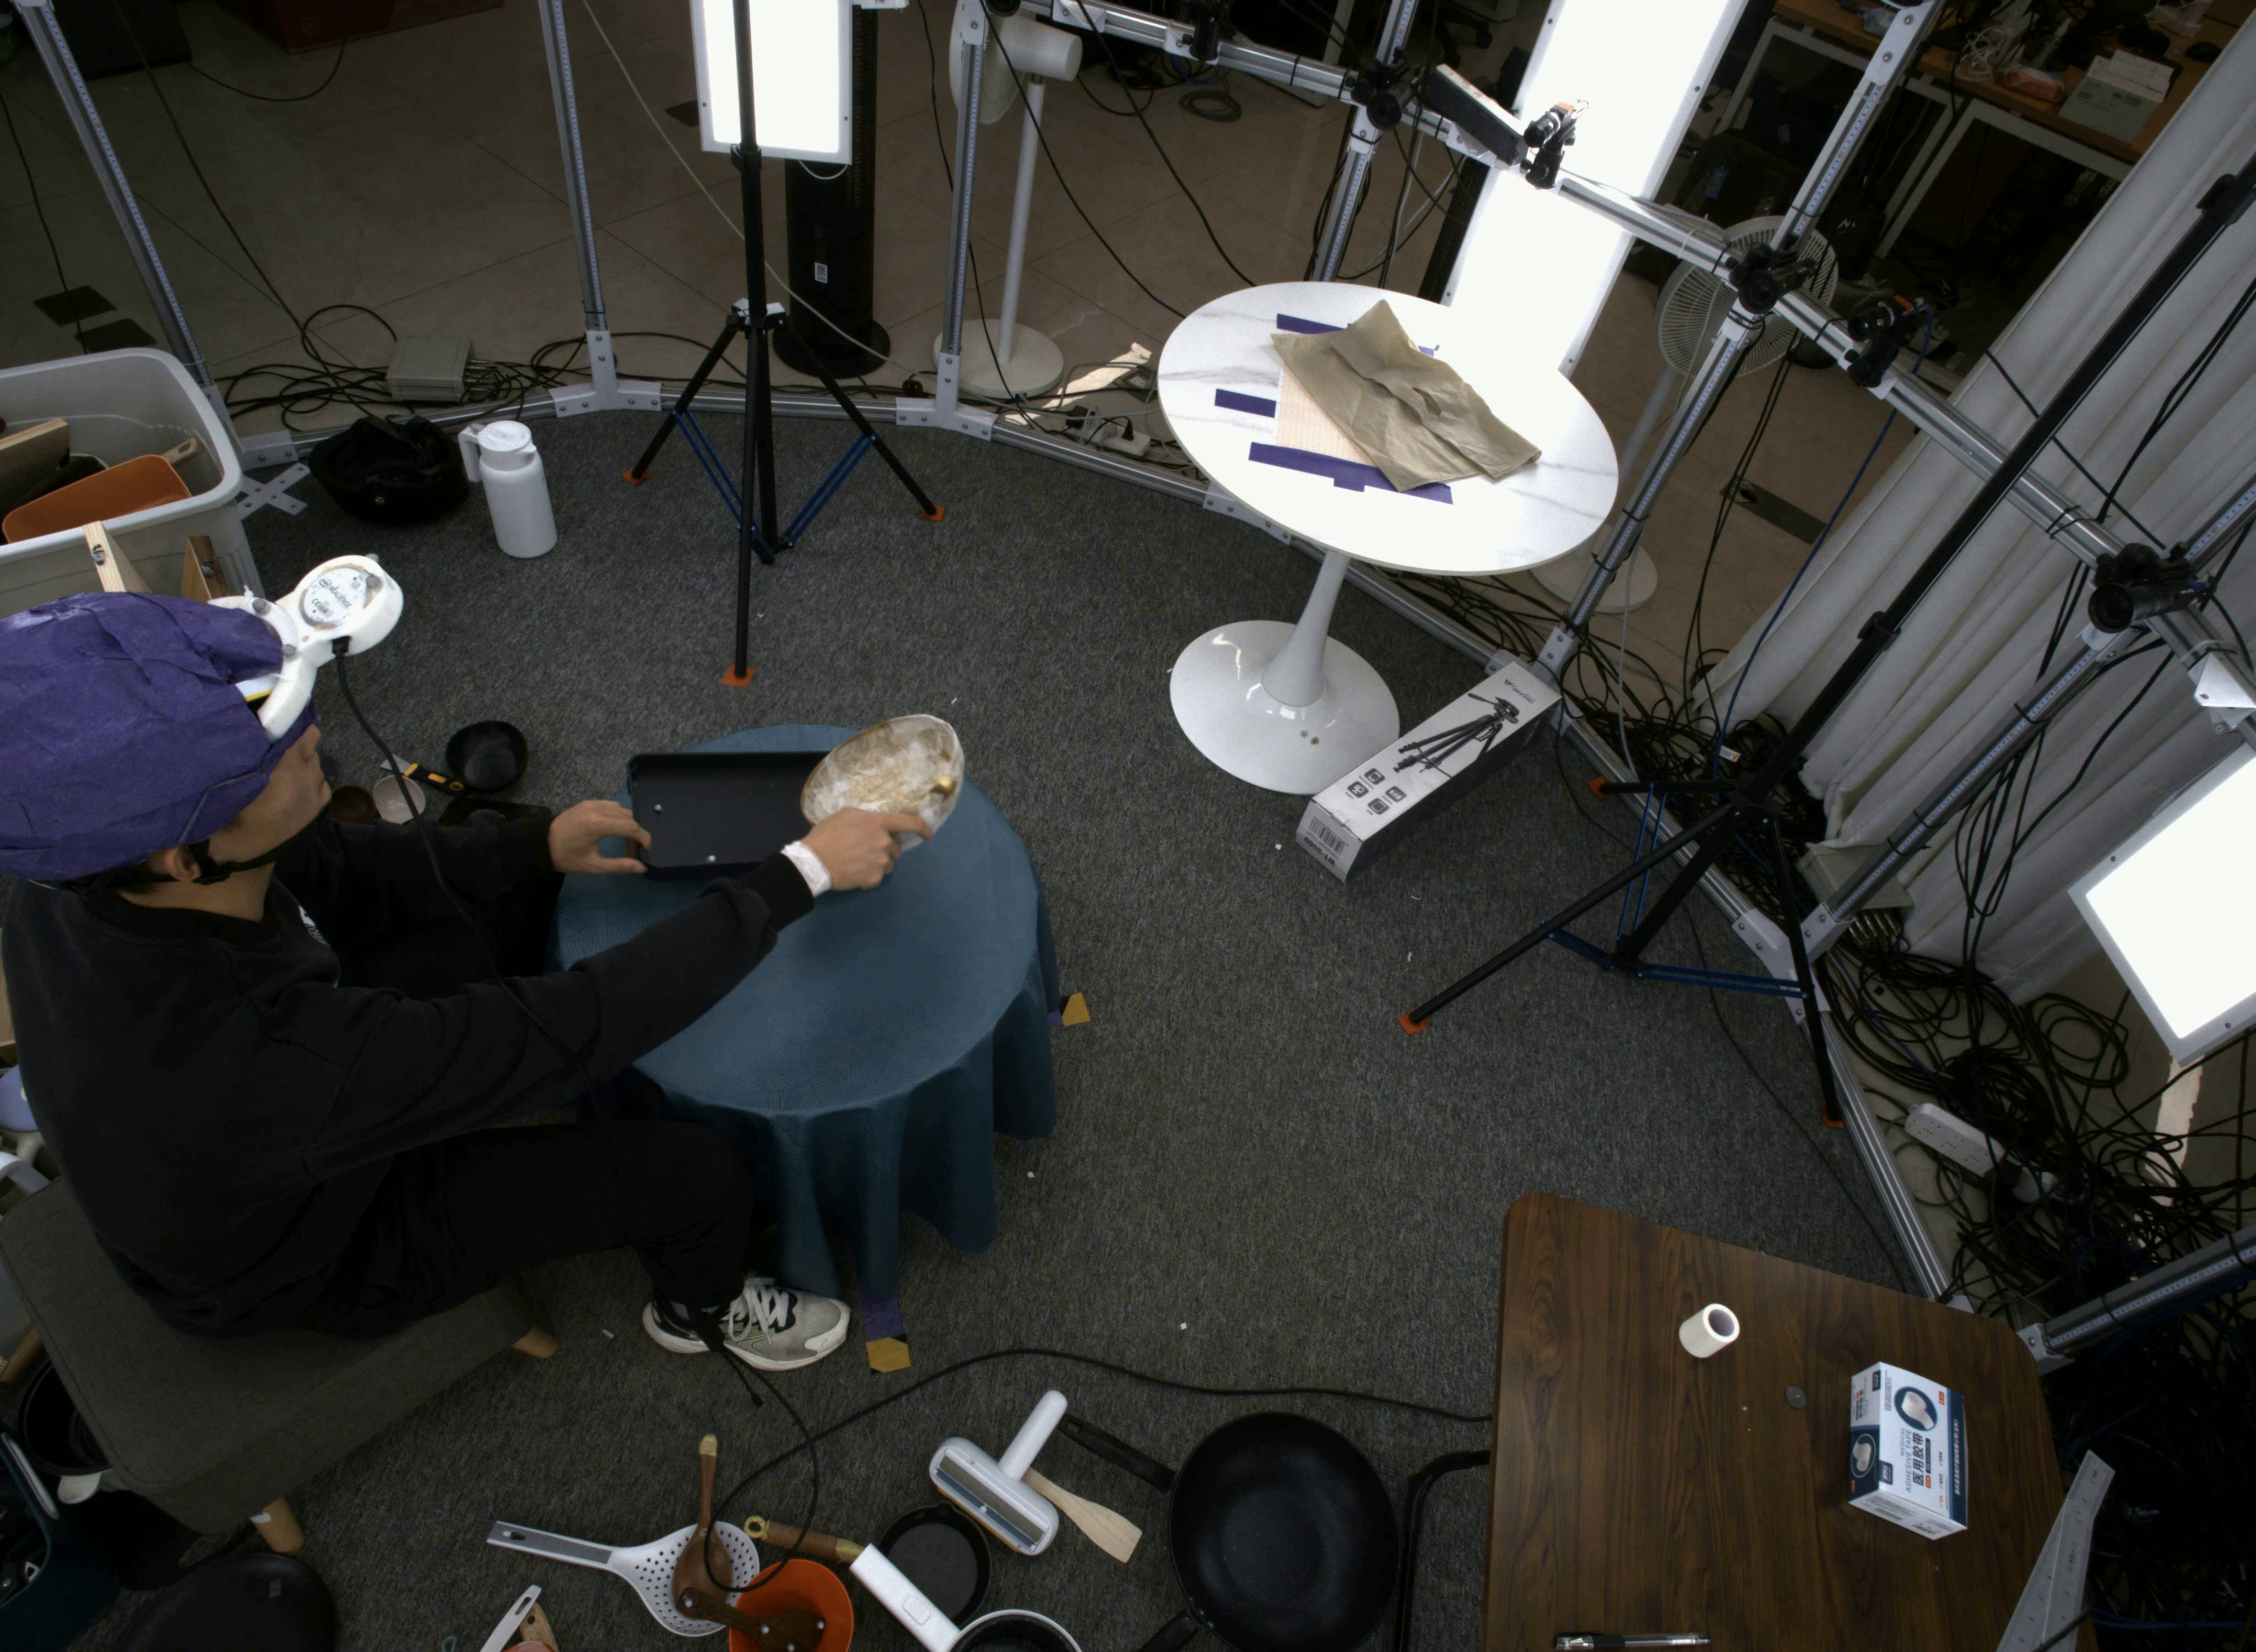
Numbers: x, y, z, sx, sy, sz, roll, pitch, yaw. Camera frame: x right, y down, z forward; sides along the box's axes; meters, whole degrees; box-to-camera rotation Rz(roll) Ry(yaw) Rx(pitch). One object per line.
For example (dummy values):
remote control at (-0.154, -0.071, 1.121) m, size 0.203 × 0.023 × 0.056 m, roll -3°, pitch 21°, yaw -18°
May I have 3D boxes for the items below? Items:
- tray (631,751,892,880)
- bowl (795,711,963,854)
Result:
tray at (-0.475, -0.016, 1.669) m, size 0.322 × 0.037 × 0.179 m, roll 0°, pitch 52°, yaw -30°
bowl at (-0.286, -0.036, 1.554) m, size 0.211 × 0.098 × 0.210 m, roll -12°, pitch 42°, yaw 12°
